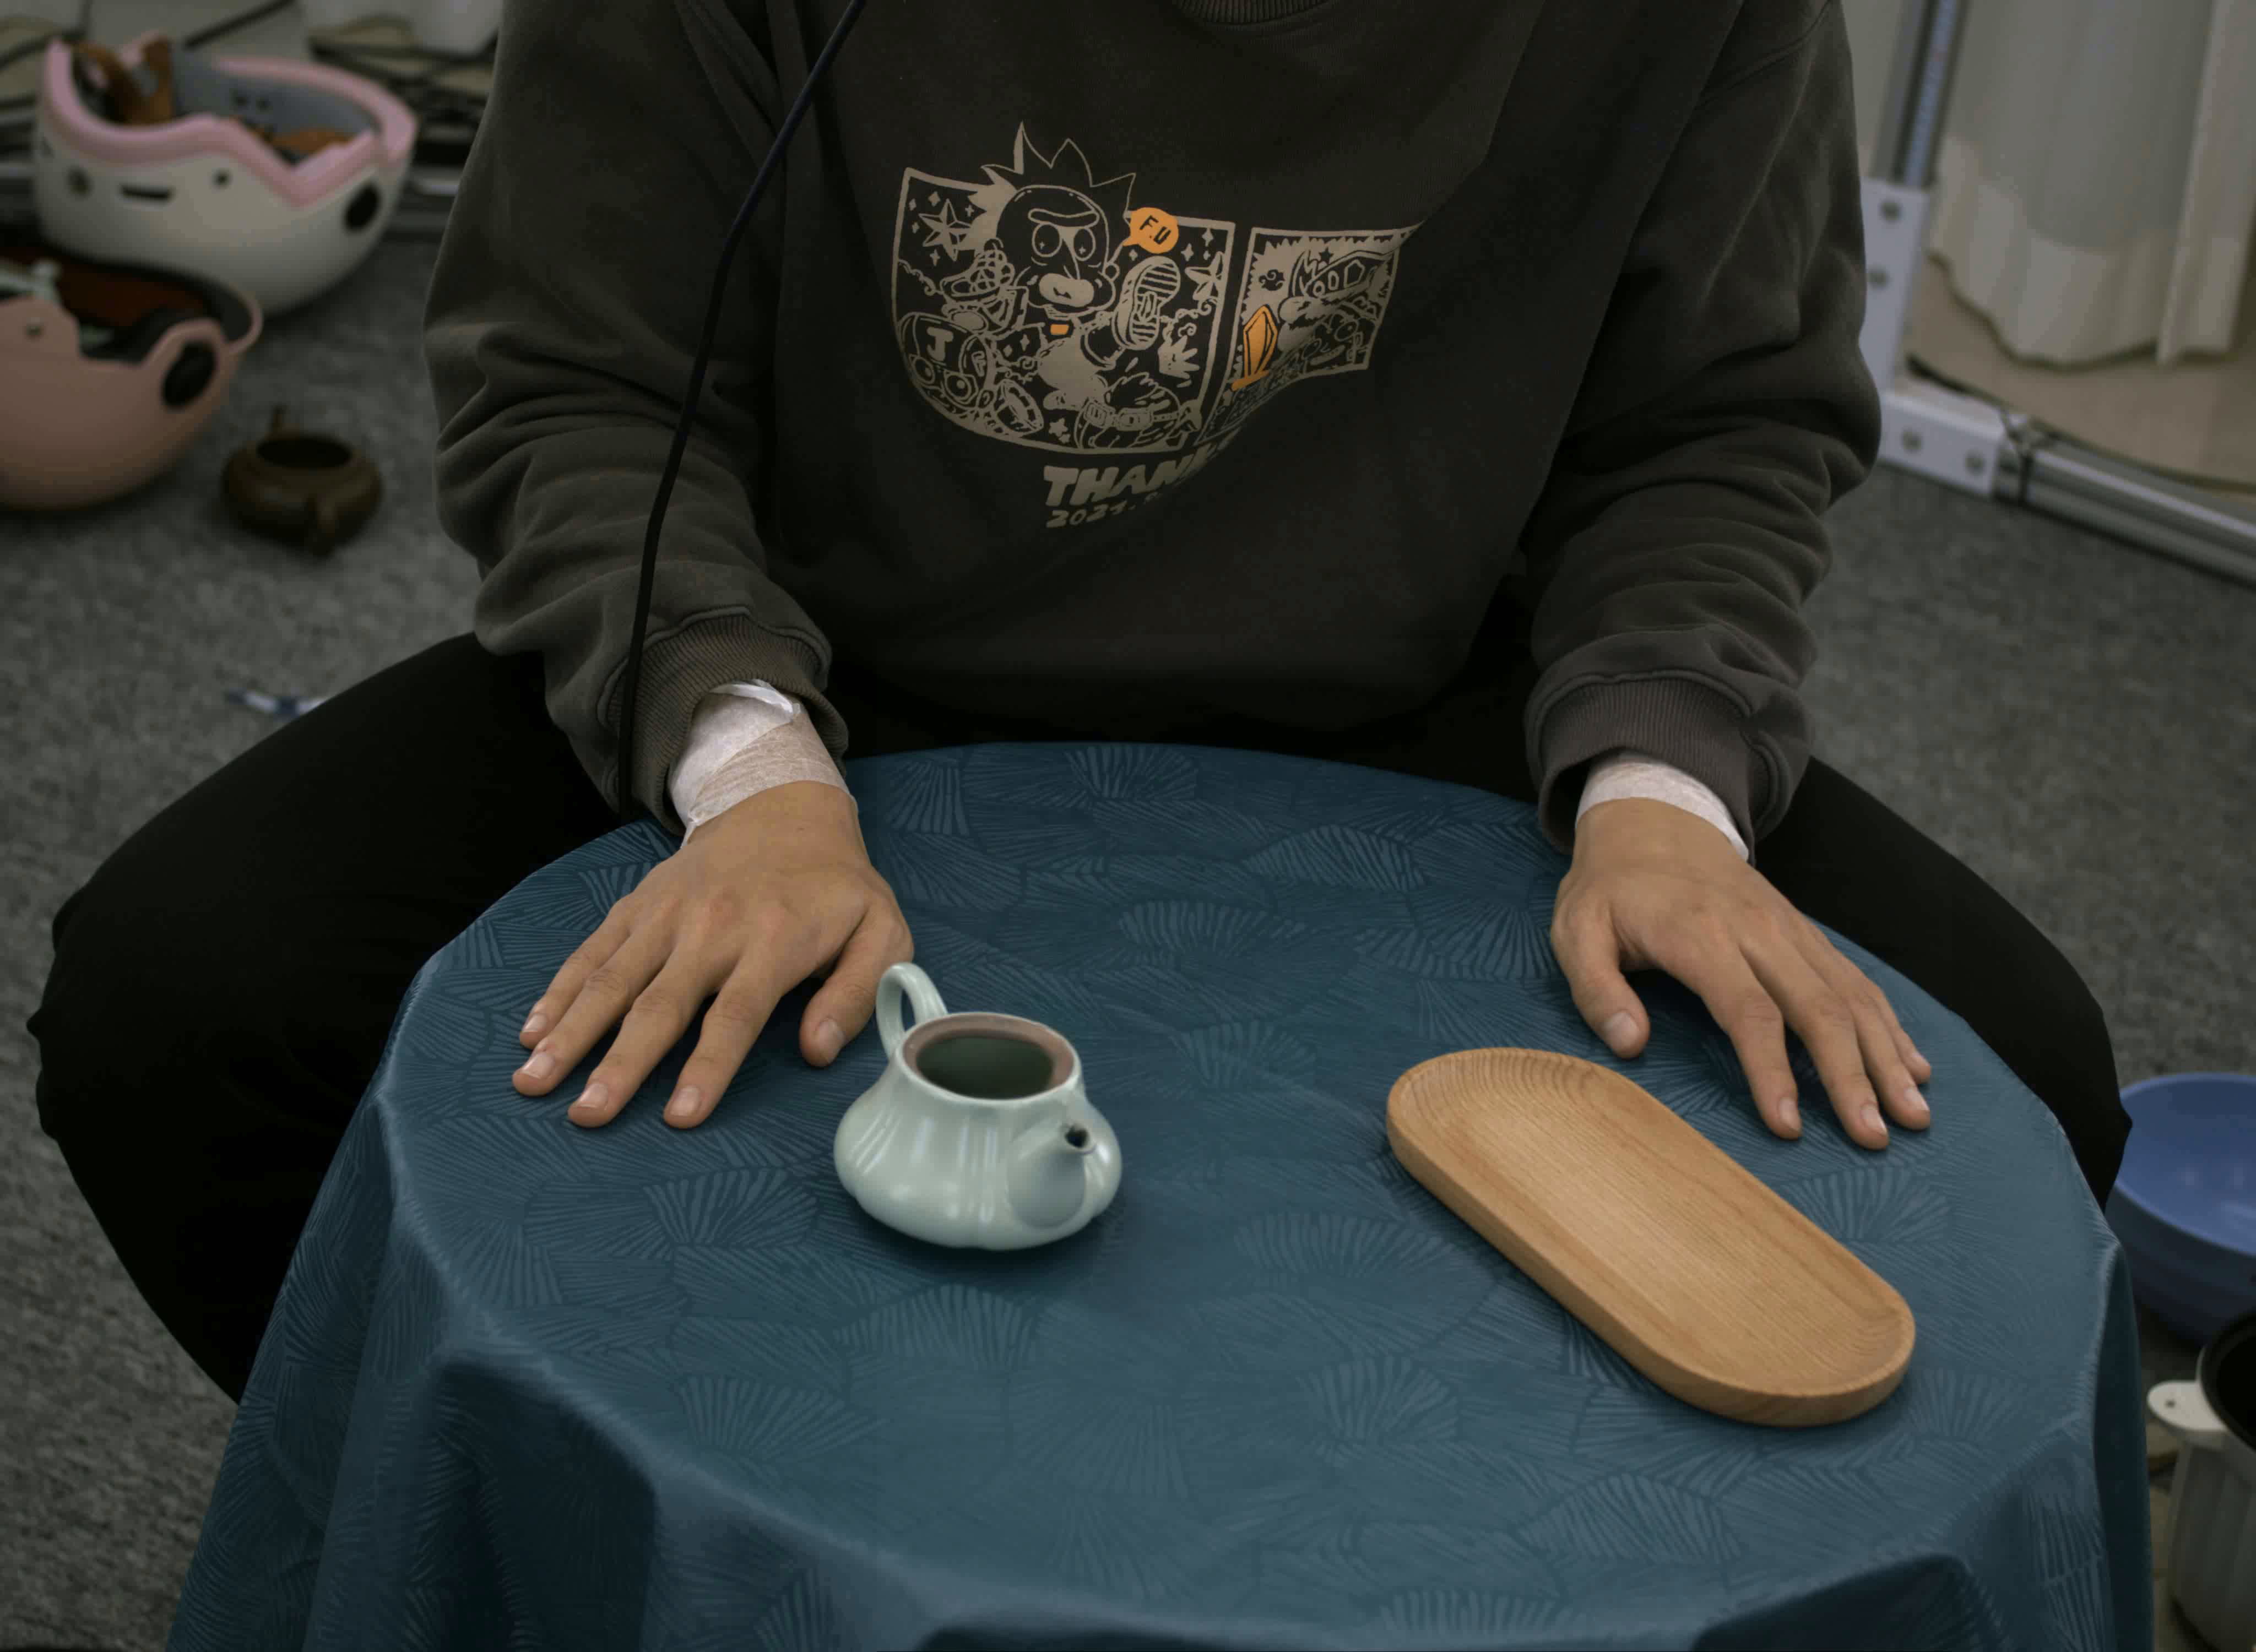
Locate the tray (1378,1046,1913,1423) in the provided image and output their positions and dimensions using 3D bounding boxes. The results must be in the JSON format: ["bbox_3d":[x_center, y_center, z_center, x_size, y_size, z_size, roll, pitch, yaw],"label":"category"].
[{"bbox_3d":[0.172,0.136,1.799,0.101,0.020,0.233,-11,30,-31],"label":"tray"}]

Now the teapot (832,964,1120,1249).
[{"bbox_3d":[-0.052,0.097,1.777,0.095,0.061,0.138,-13,33,-31],"label":"teapot"}]
